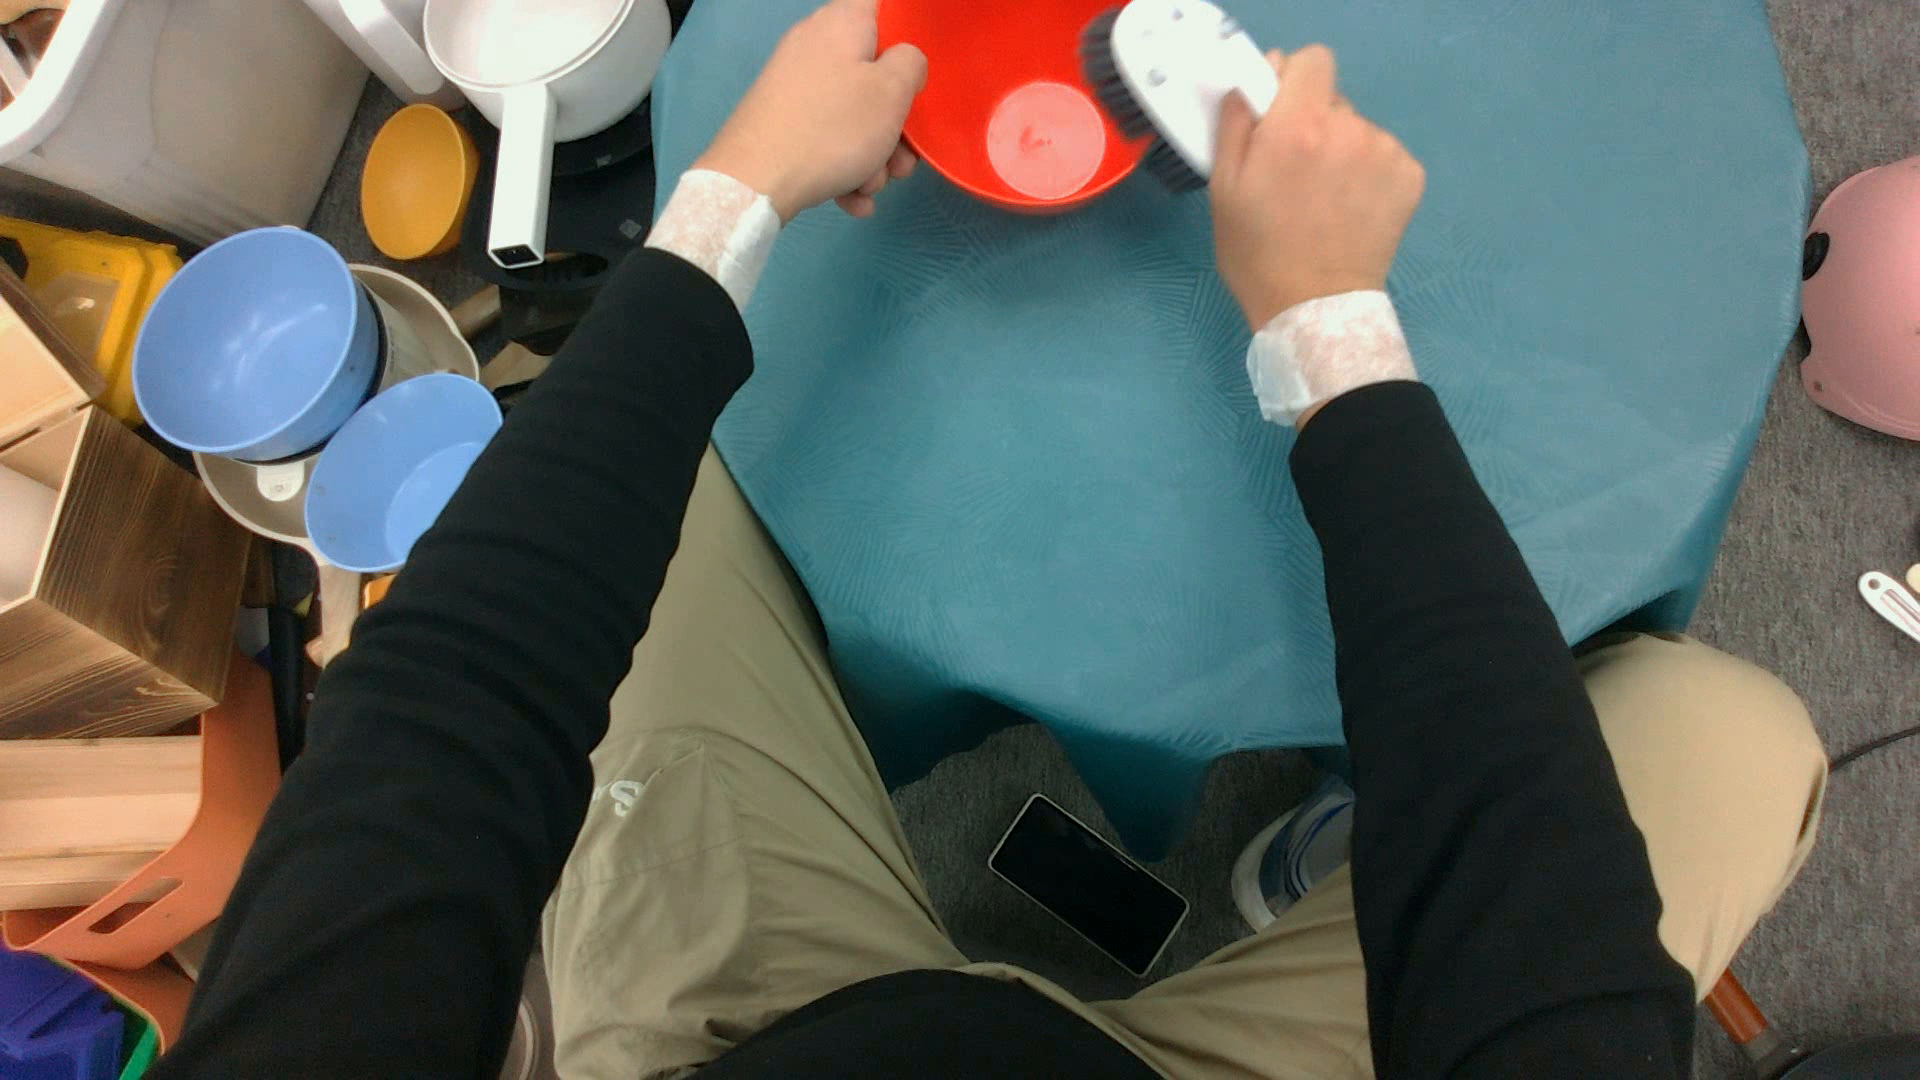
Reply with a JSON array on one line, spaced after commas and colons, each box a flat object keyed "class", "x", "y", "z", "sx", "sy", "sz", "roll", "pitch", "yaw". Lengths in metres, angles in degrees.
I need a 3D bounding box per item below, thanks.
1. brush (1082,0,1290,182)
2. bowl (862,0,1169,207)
[{"class": "brush", "x": 0.110, "y": -0.212, "z": 0.626, "sx": 0.050, "sy": 0.072, "sz": 0.099, "roll": -51, "pitch": 121, "yaw": -23}, {"class": "bowl", "x": 0.030, "y": -0.231, "z": 0.689, "sx": 0.148, "sy": 0.104, "sz": 0.148, "roll": 0, "pitch": 83, "yaw": 3}]
